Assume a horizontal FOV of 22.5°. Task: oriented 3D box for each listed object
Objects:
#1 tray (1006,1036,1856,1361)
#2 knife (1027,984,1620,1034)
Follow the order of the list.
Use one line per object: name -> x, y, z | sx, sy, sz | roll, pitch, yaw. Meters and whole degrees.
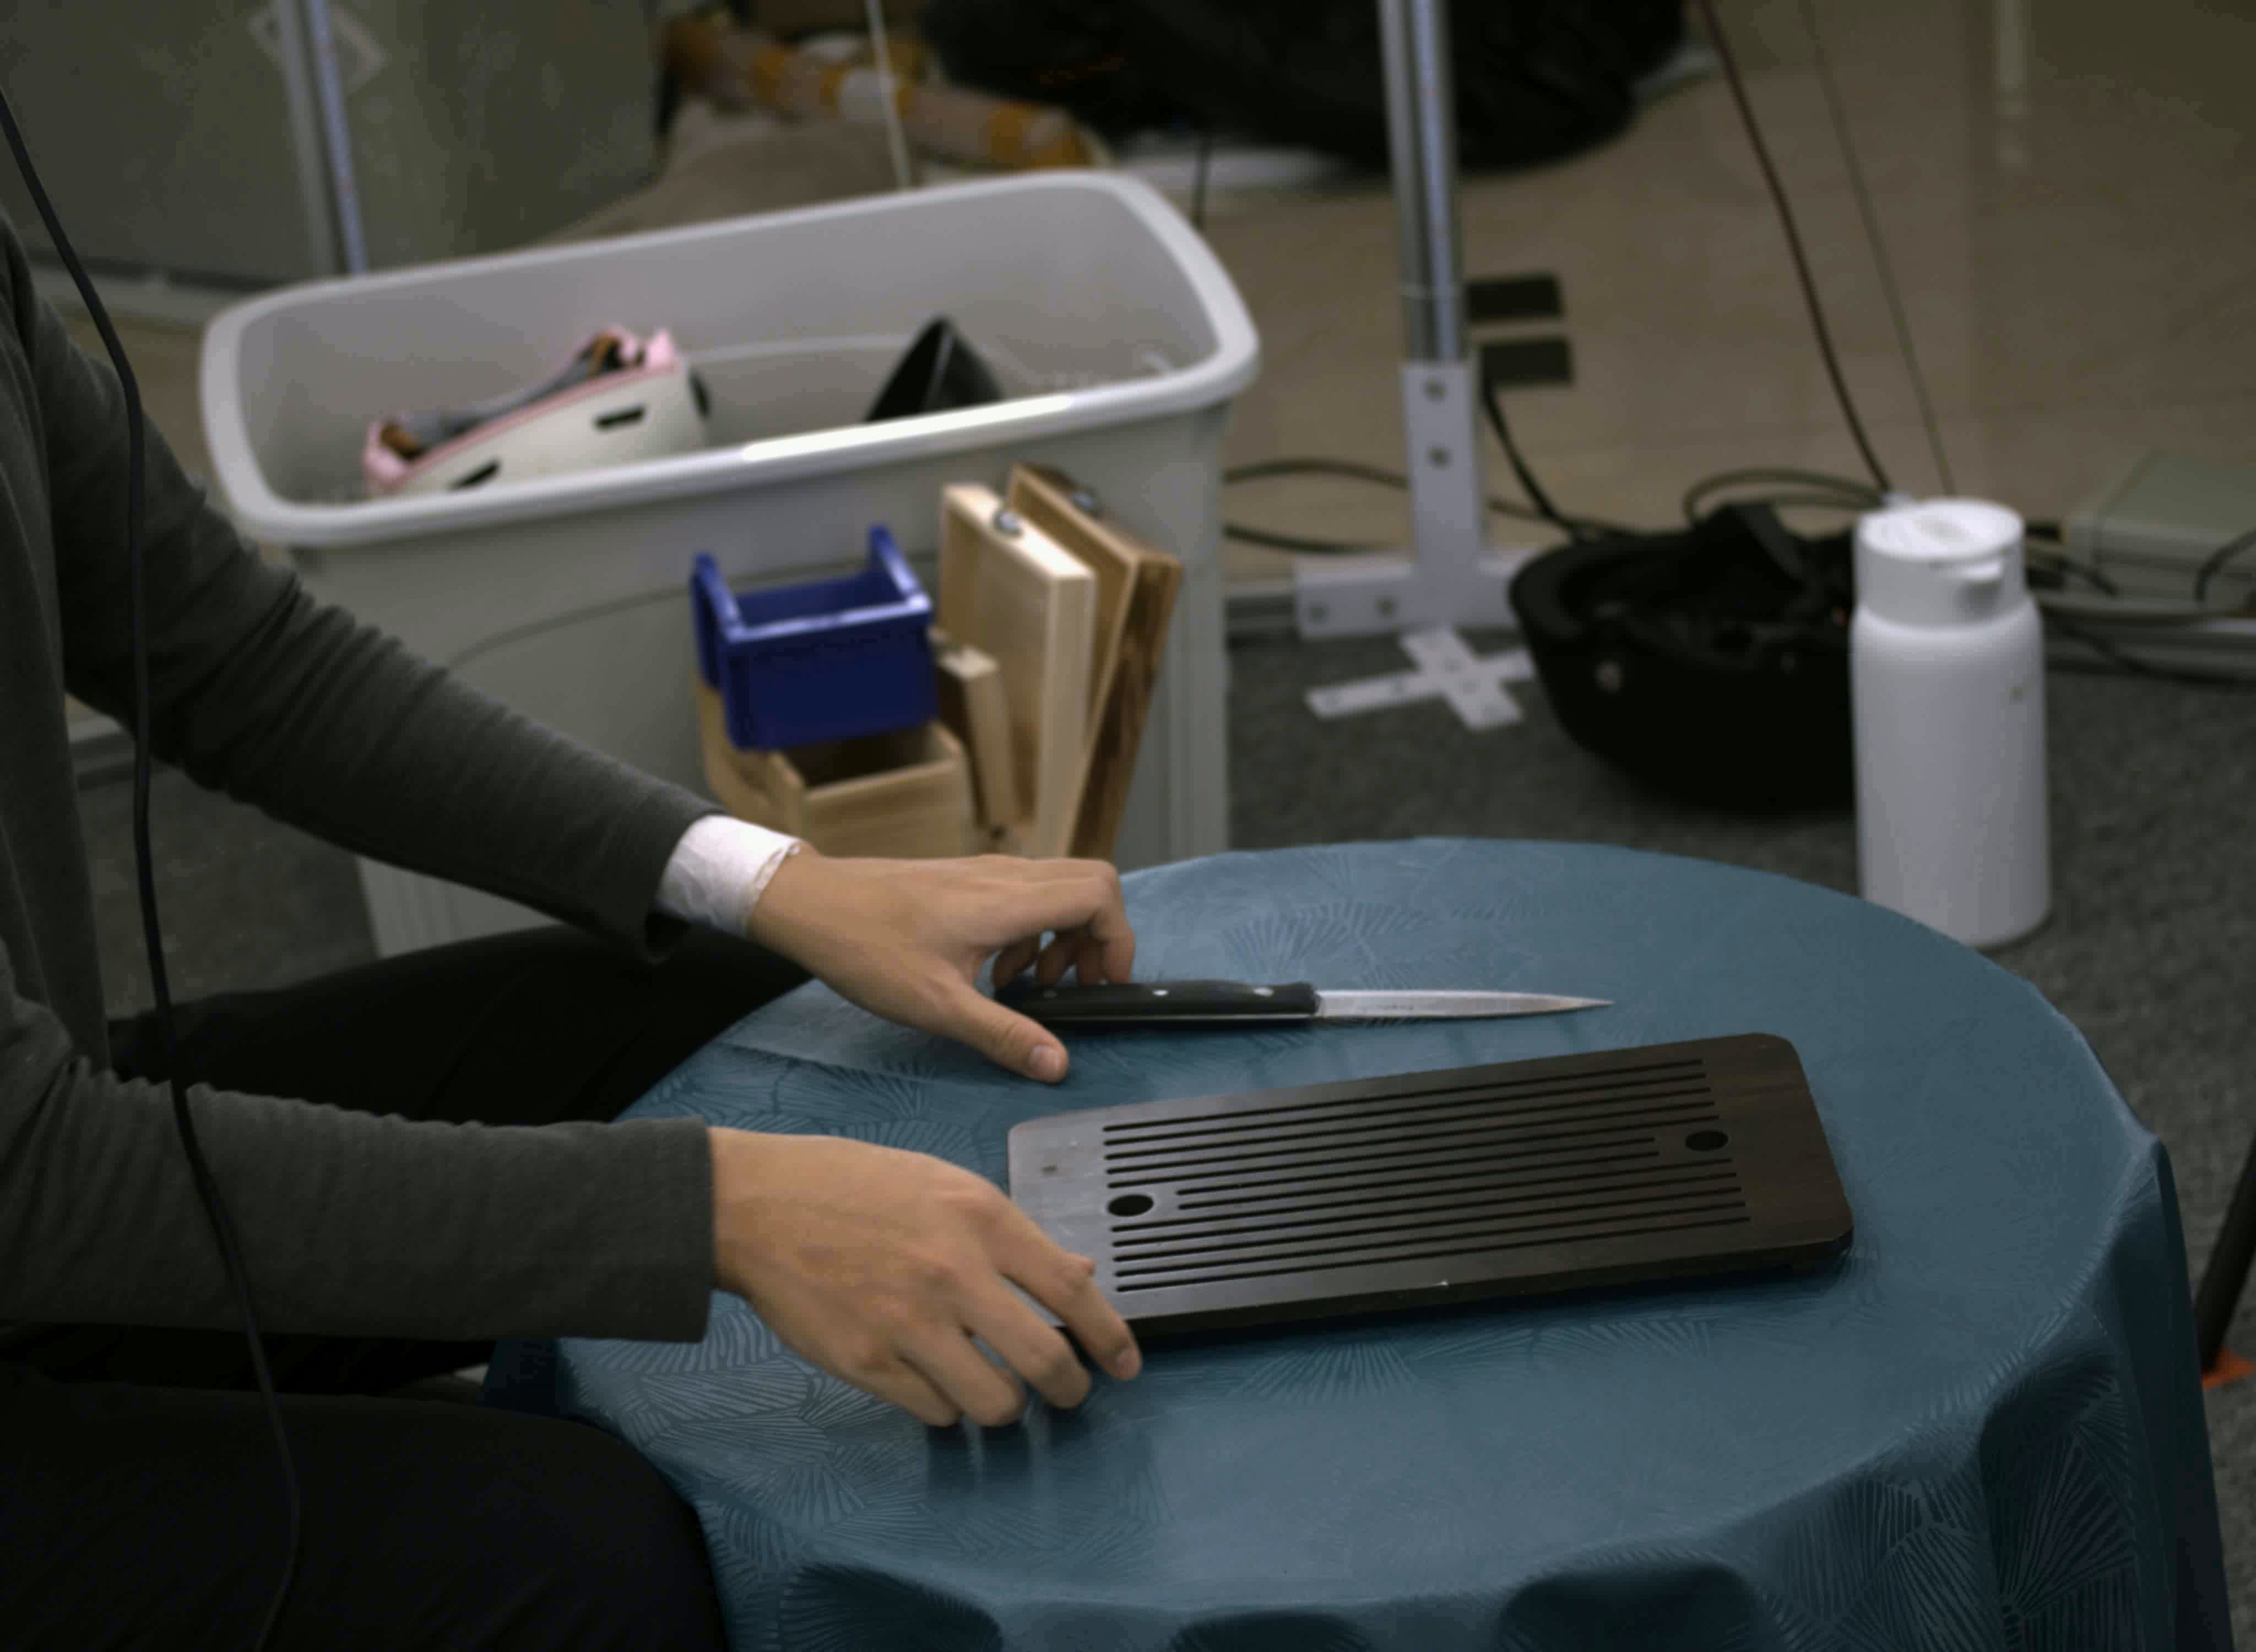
tray -> 0.108, 0.138, 2.106 | 0.305, 0.019, 0.167 | -6, 24, 0
knife -> 0.077, 0.072, 2.264 | 0.238, 0.016, 0.024 | -1, 25, 5
